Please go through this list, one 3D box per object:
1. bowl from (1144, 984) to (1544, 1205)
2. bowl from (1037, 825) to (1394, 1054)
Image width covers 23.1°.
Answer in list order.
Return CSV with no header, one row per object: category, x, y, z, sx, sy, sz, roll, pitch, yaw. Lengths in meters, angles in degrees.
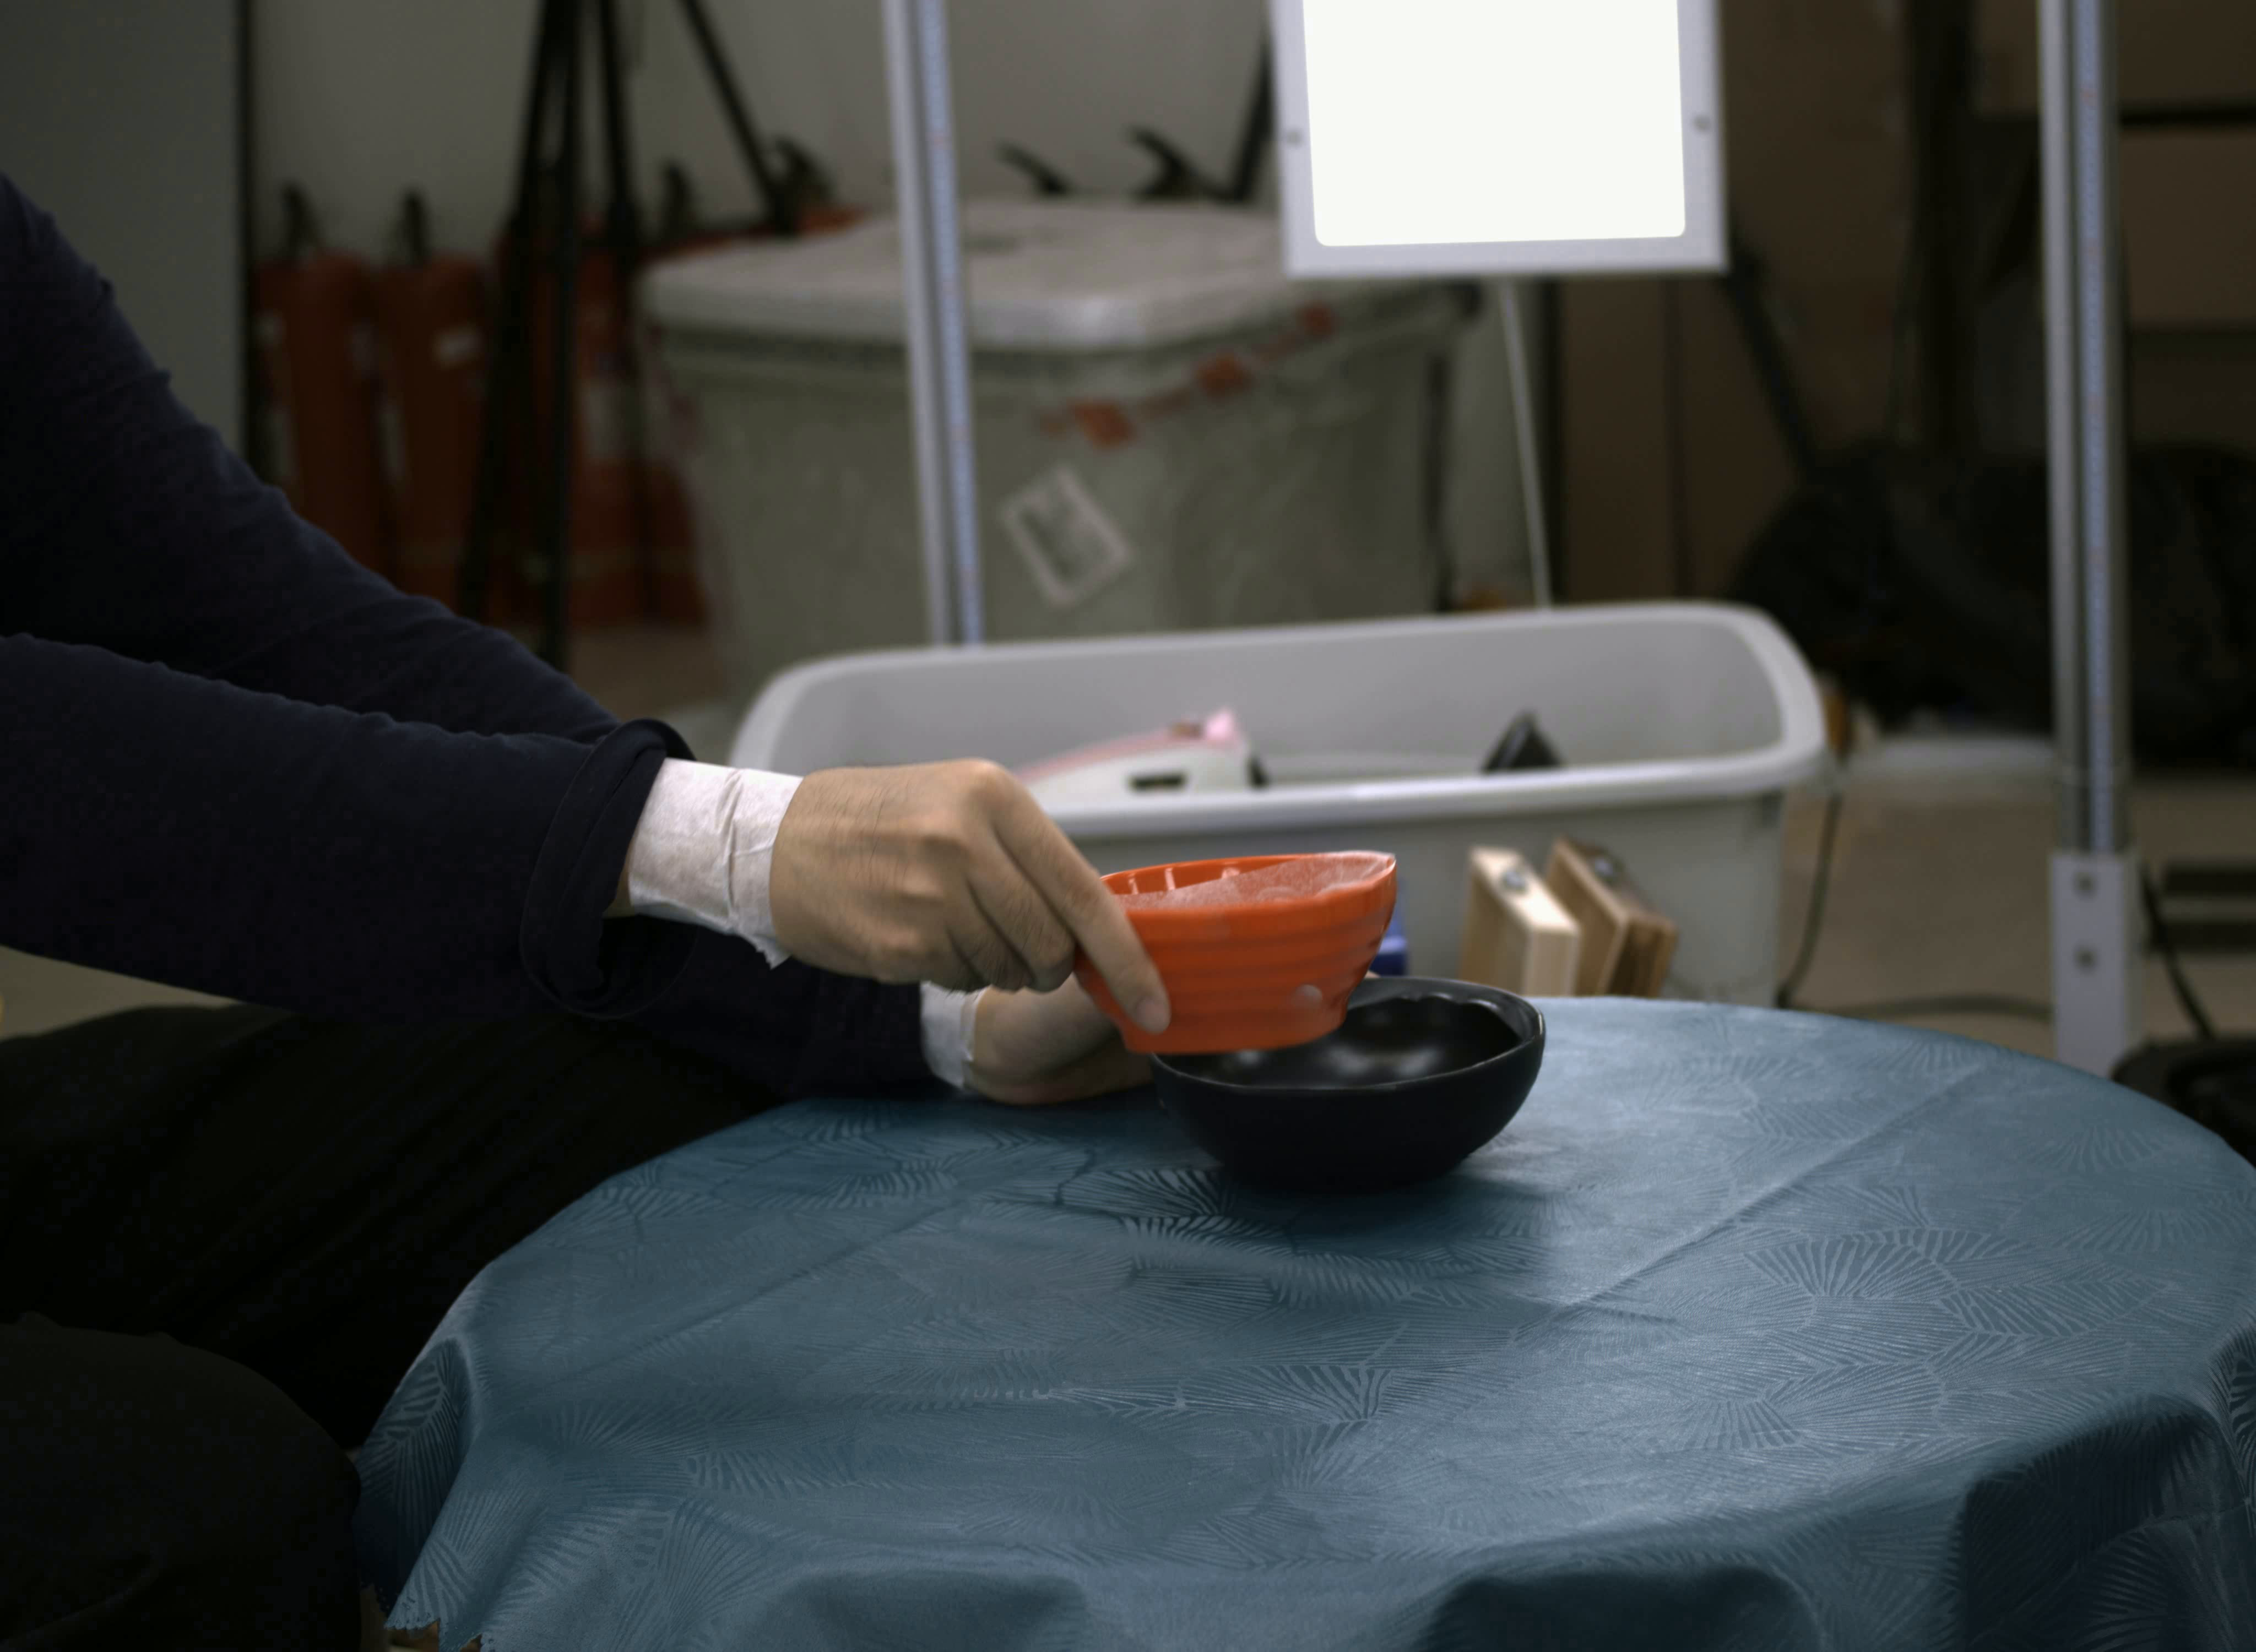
bowl,0.078,0.097,1.905,0.140,0.050,0.140,-9,12,1
bowl,0.030,0.038,1.763,0.118,0.051,0.119,-5,16,0
